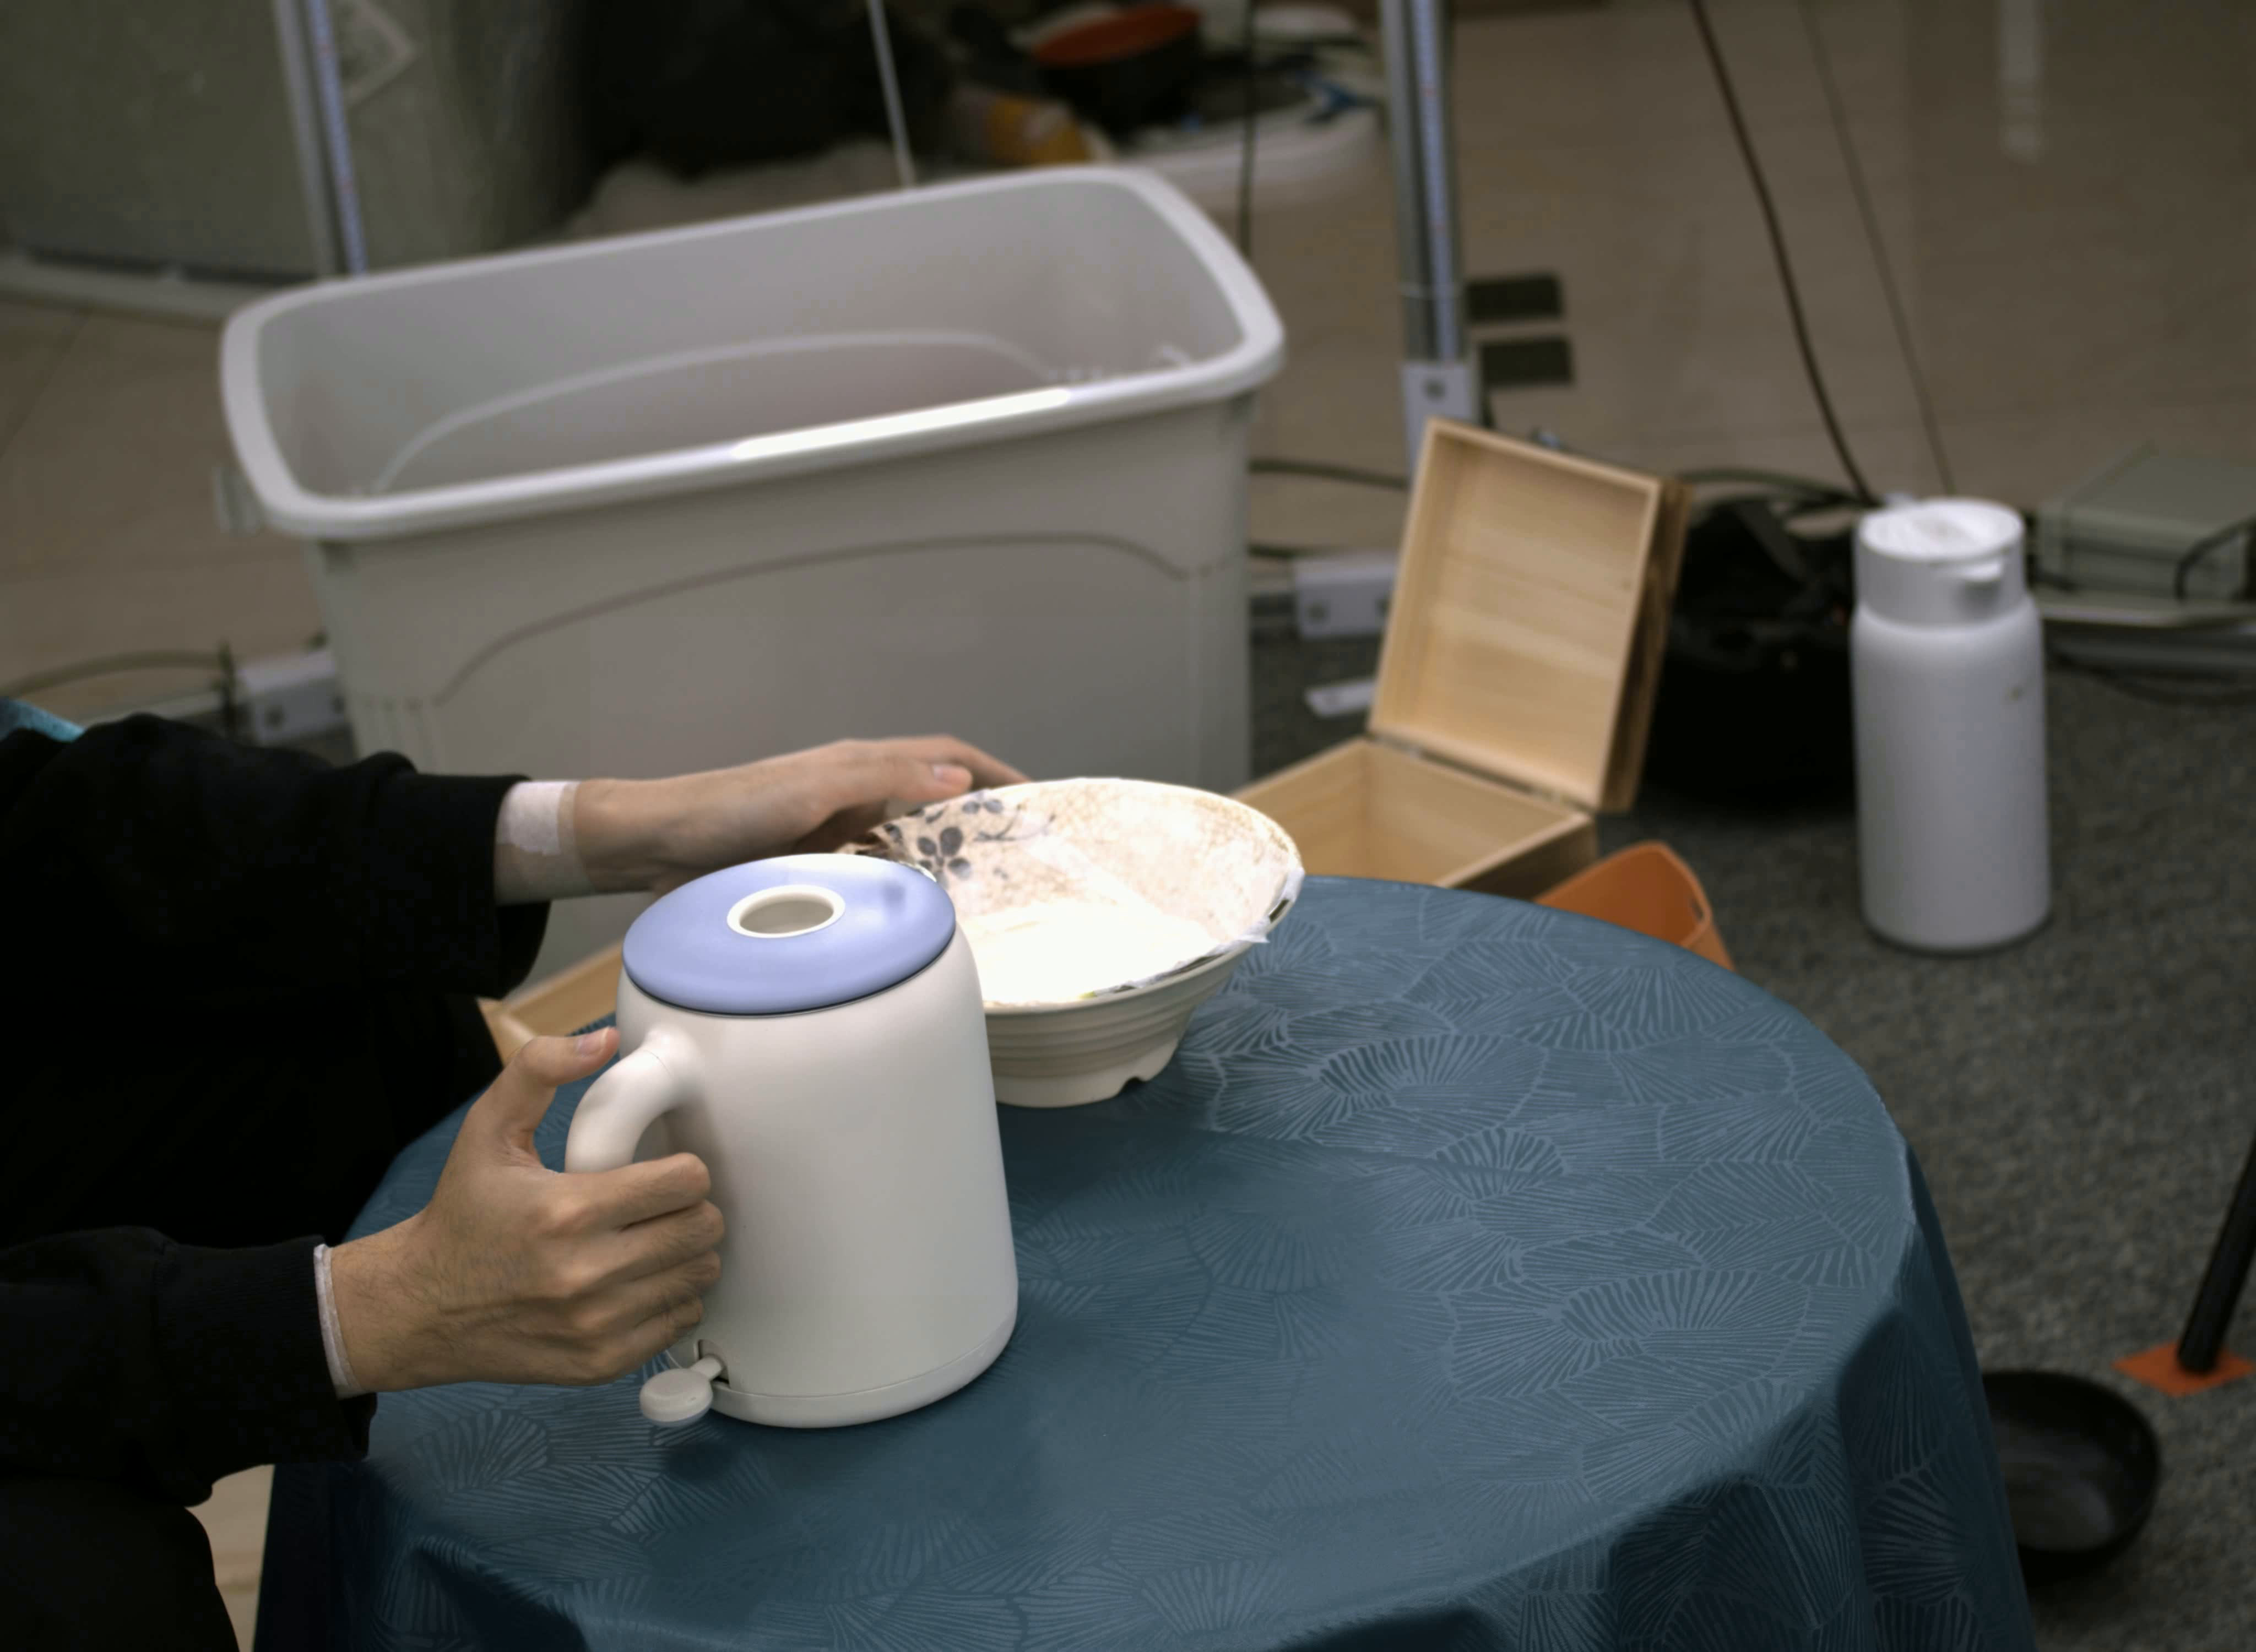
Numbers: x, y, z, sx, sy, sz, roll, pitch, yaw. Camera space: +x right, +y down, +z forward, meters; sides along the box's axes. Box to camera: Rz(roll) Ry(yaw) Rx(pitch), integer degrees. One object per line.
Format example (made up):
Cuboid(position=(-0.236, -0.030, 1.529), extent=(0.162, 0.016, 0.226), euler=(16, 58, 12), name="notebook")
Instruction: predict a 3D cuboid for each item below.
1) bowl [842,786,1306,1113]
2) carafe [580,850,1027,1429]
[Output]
Cuboid(position=(-0.026, 0.059, 2.232), extent=(0.204, 0.079, 0.201), euler=(-8, 24, 4), name="bowl")
Cuboid(position=(-0.125, 0.121, 2.009), extent=(0.131, 0.185, 0.189), euler=(13, 35, 37), name="carafe")
